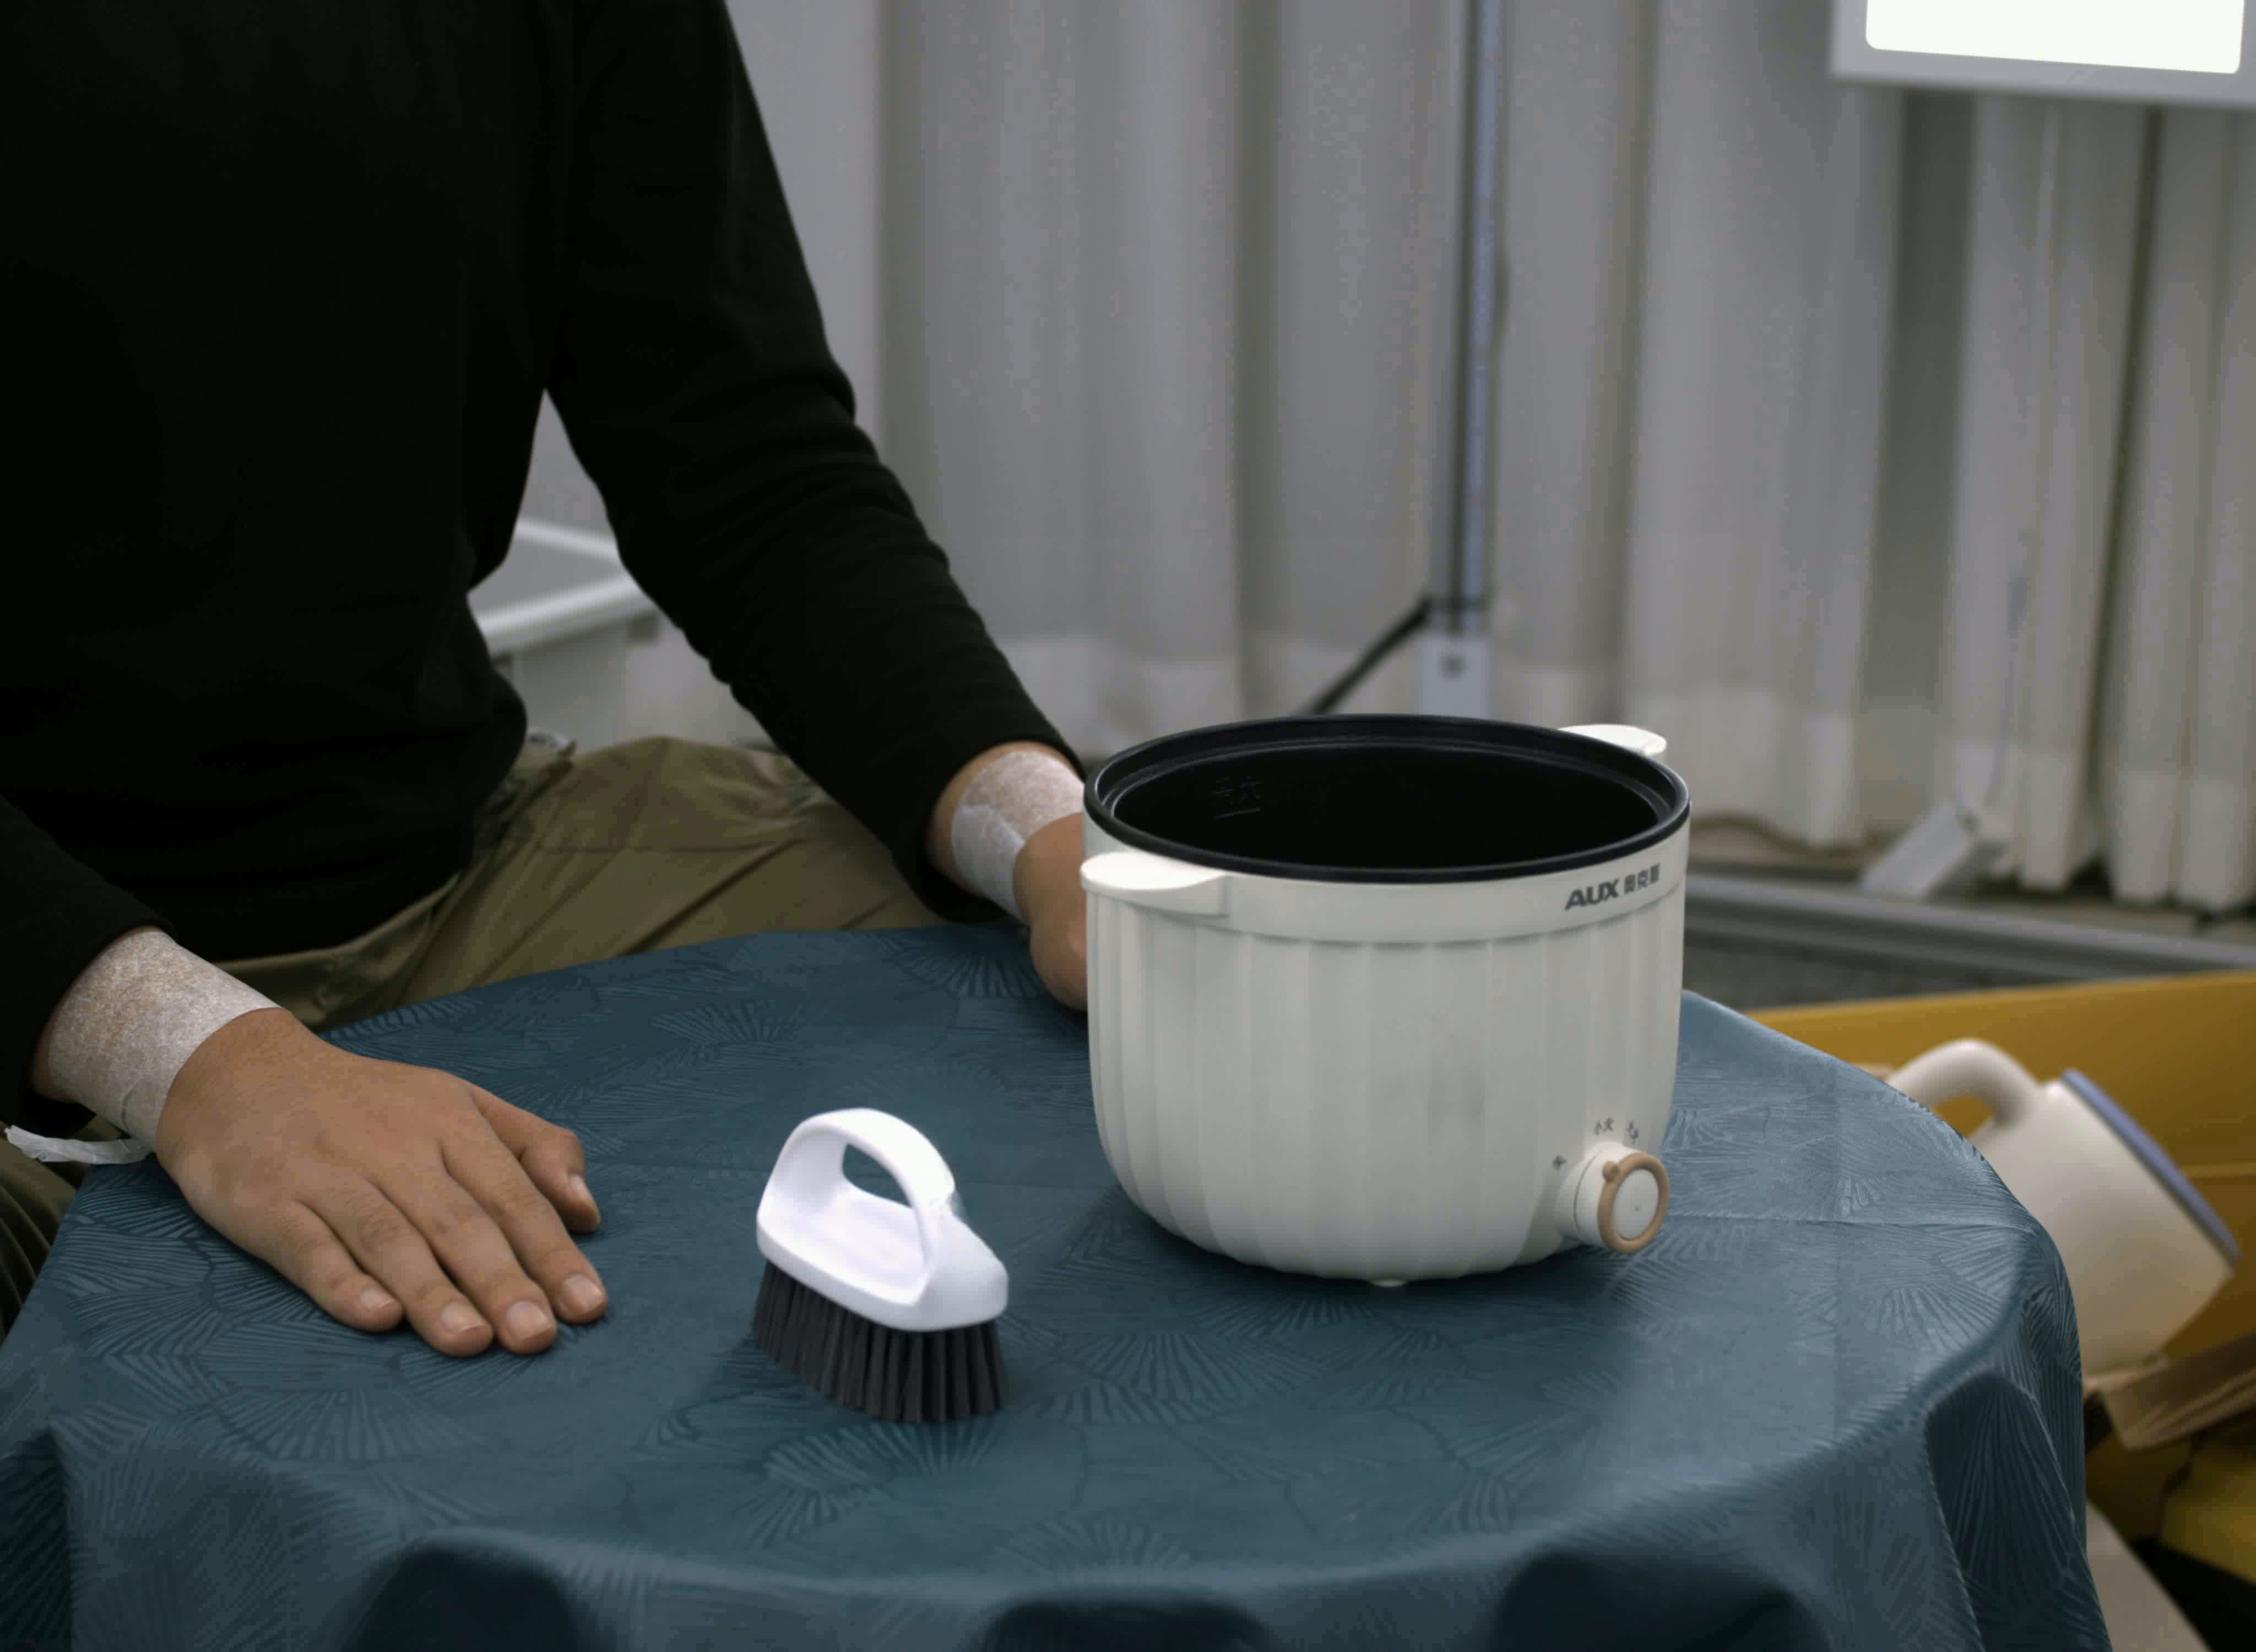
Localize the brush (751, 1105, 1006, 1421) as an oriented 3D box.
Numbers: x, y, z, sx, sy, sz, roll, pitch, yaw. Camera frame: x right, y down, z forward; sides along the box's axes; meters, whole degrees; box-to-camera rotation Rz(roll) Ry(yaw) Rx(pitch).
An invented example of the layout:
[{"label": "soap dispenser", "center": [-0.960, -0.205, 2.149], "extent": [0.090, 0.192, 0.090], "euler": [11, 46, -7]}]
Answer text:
[{"label": "brush", "center": [-0.071, 0.116, 1.467], "extent": [0.050, 0.073, 0.098], "euler": [-9, 18, -31]}]

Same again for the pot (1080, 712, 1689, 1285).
[{"label": "pot", "center": [0.081, 0.053, 1.578], "extent": [0.188, 0.144, 0.241], "euler": [11, 20, 42]}]
